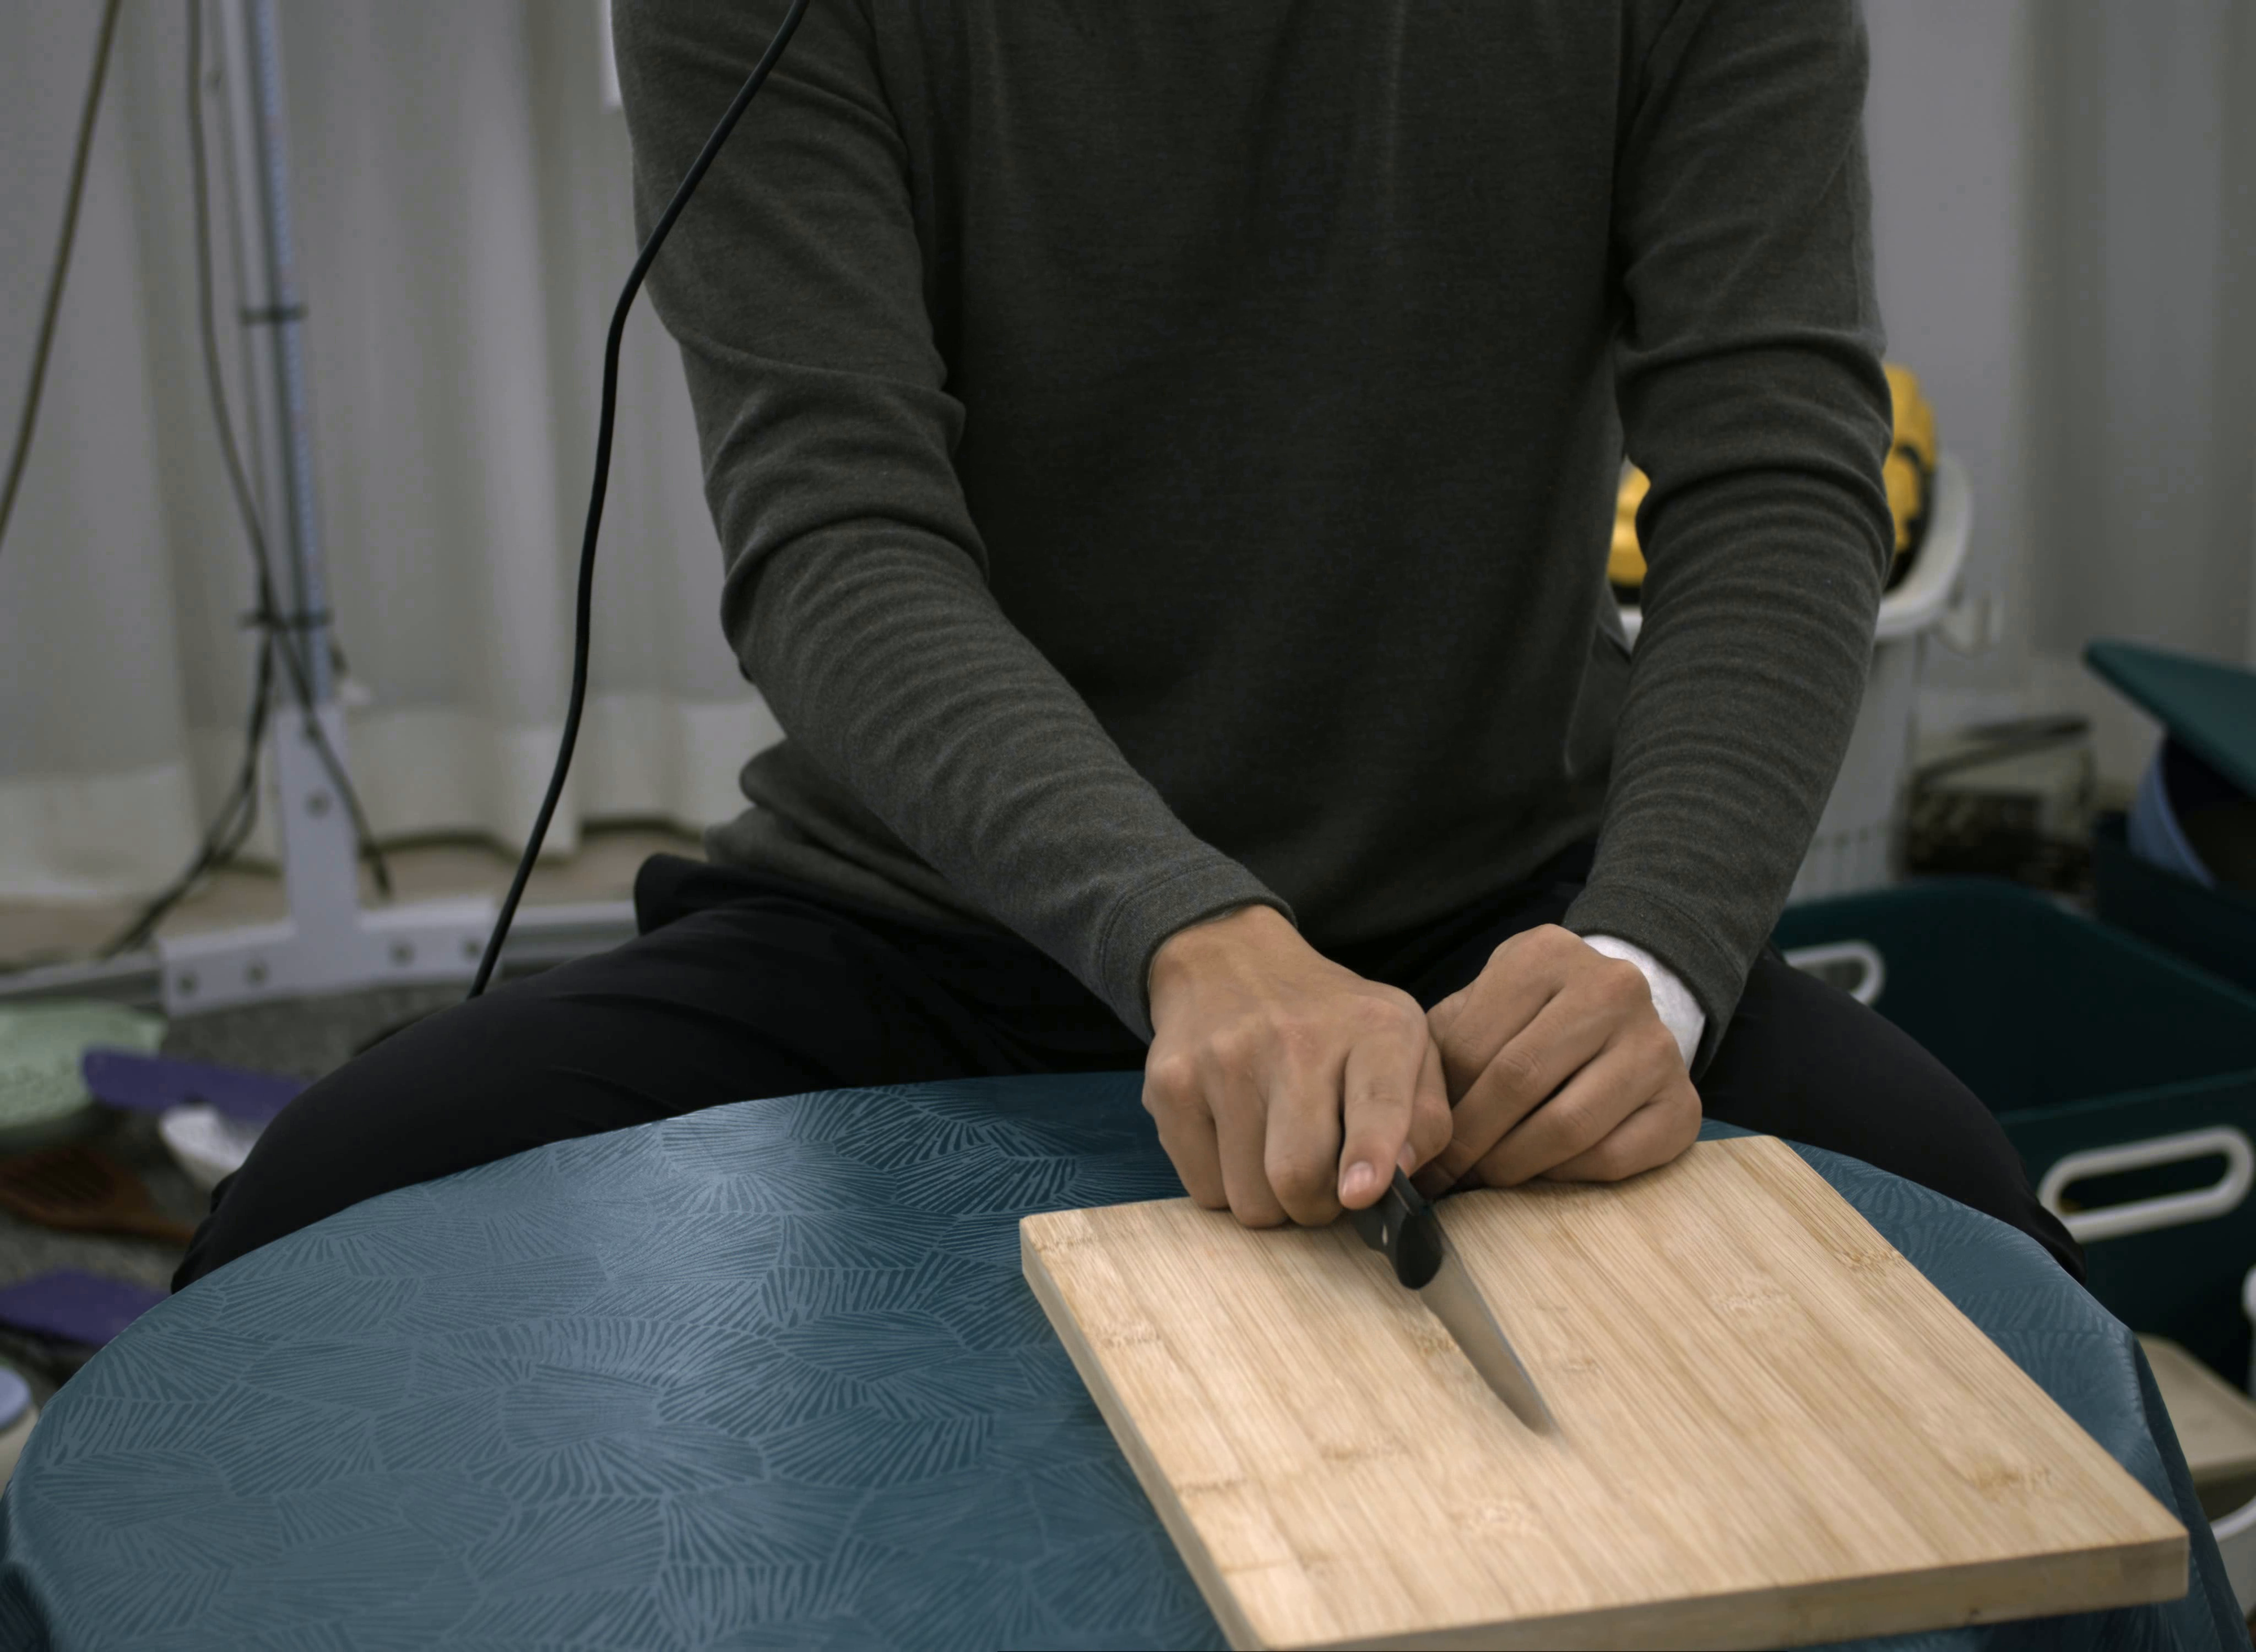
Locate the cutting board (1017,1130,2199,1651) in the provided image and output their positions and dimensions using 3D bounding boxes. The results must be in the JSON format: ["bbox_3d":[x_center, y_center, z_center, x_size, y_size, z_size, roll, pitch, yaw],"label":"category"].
[{"bbox_3d":[0.117,0.155,1.512,0.249,0.023,0.351,-5,15,-11],"label":"cutting board"}]

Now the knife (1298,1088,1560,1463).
[{"bbox_3d":[0.084,0.123,1.536,0.016,0.024,0.240,-5,20,-13],"label":"knife"}]
